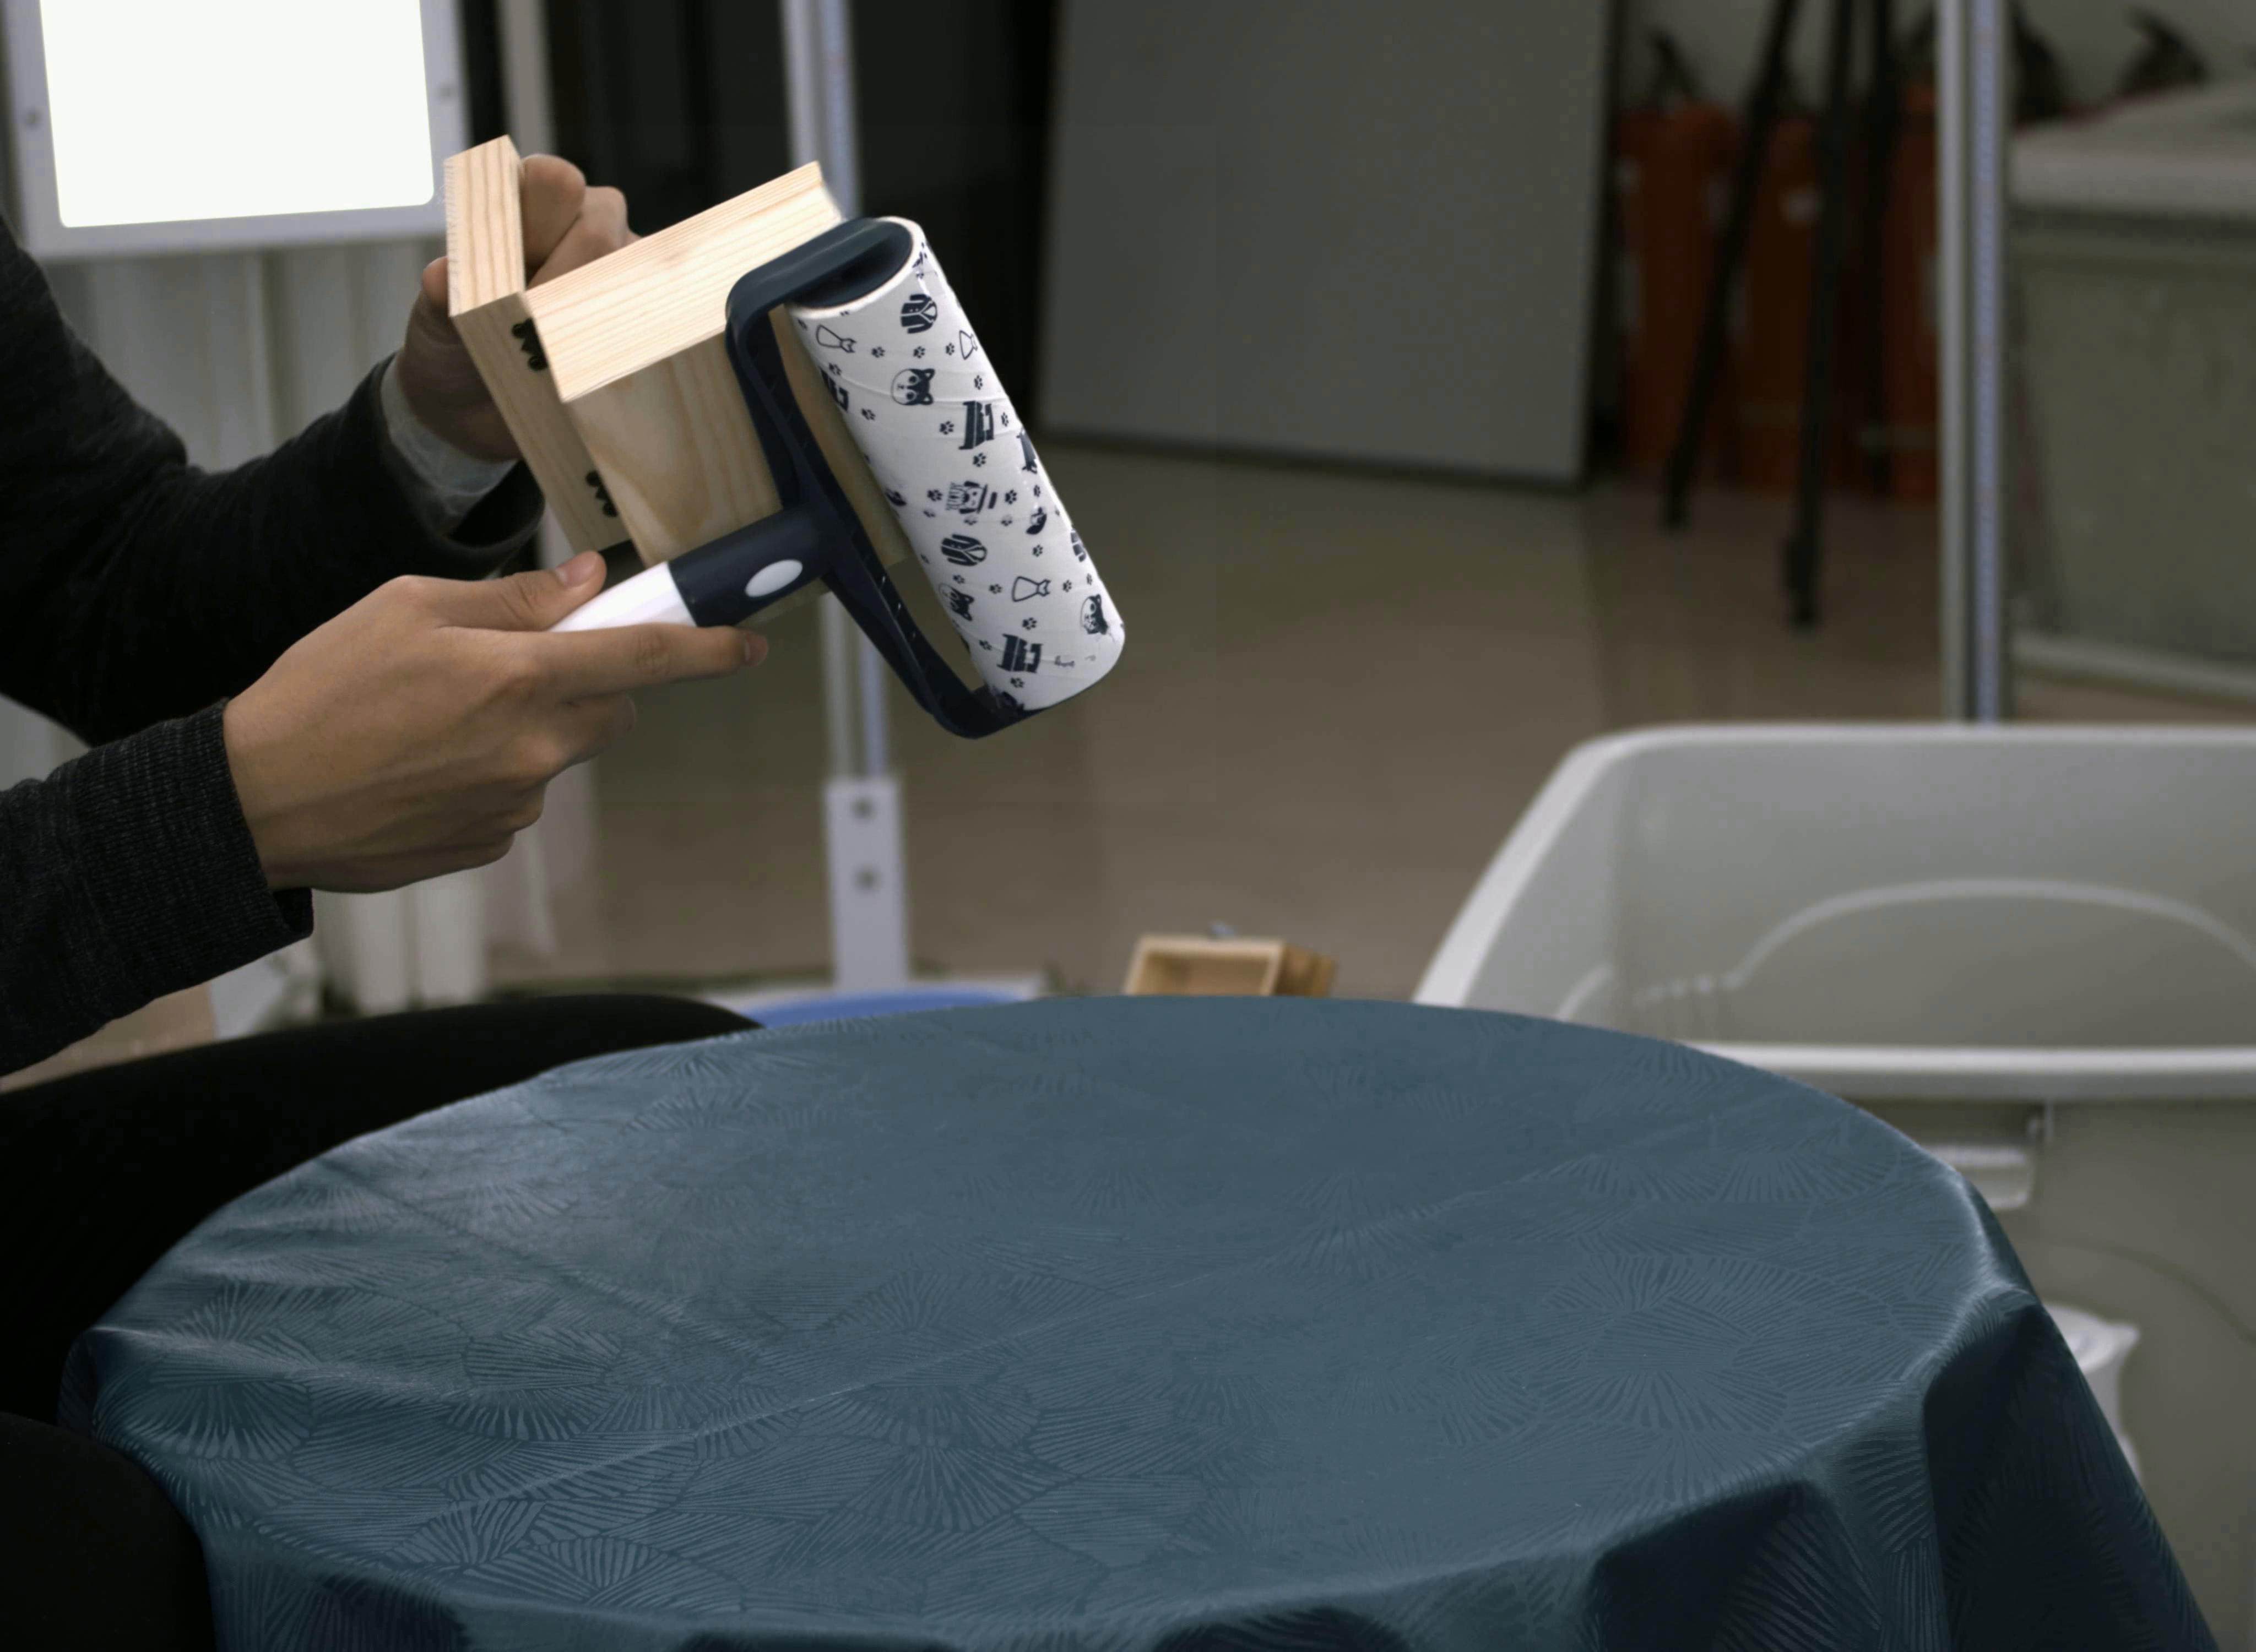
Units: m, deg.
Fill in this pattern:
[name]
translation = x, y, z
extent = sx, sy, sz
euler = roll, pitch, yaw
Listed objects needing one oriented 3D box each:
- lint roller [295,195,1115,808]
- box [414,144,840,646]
[lint roller]
translation = -0.141, -0.064, 1.642
extent = 0.245, 0.175, 0.051
euler = -29, 34, 2
[box]
translation = -0.140, -0.156, 1.725
extent = 0.133, 0.102, 0.186
euler = -25, 33, 0
